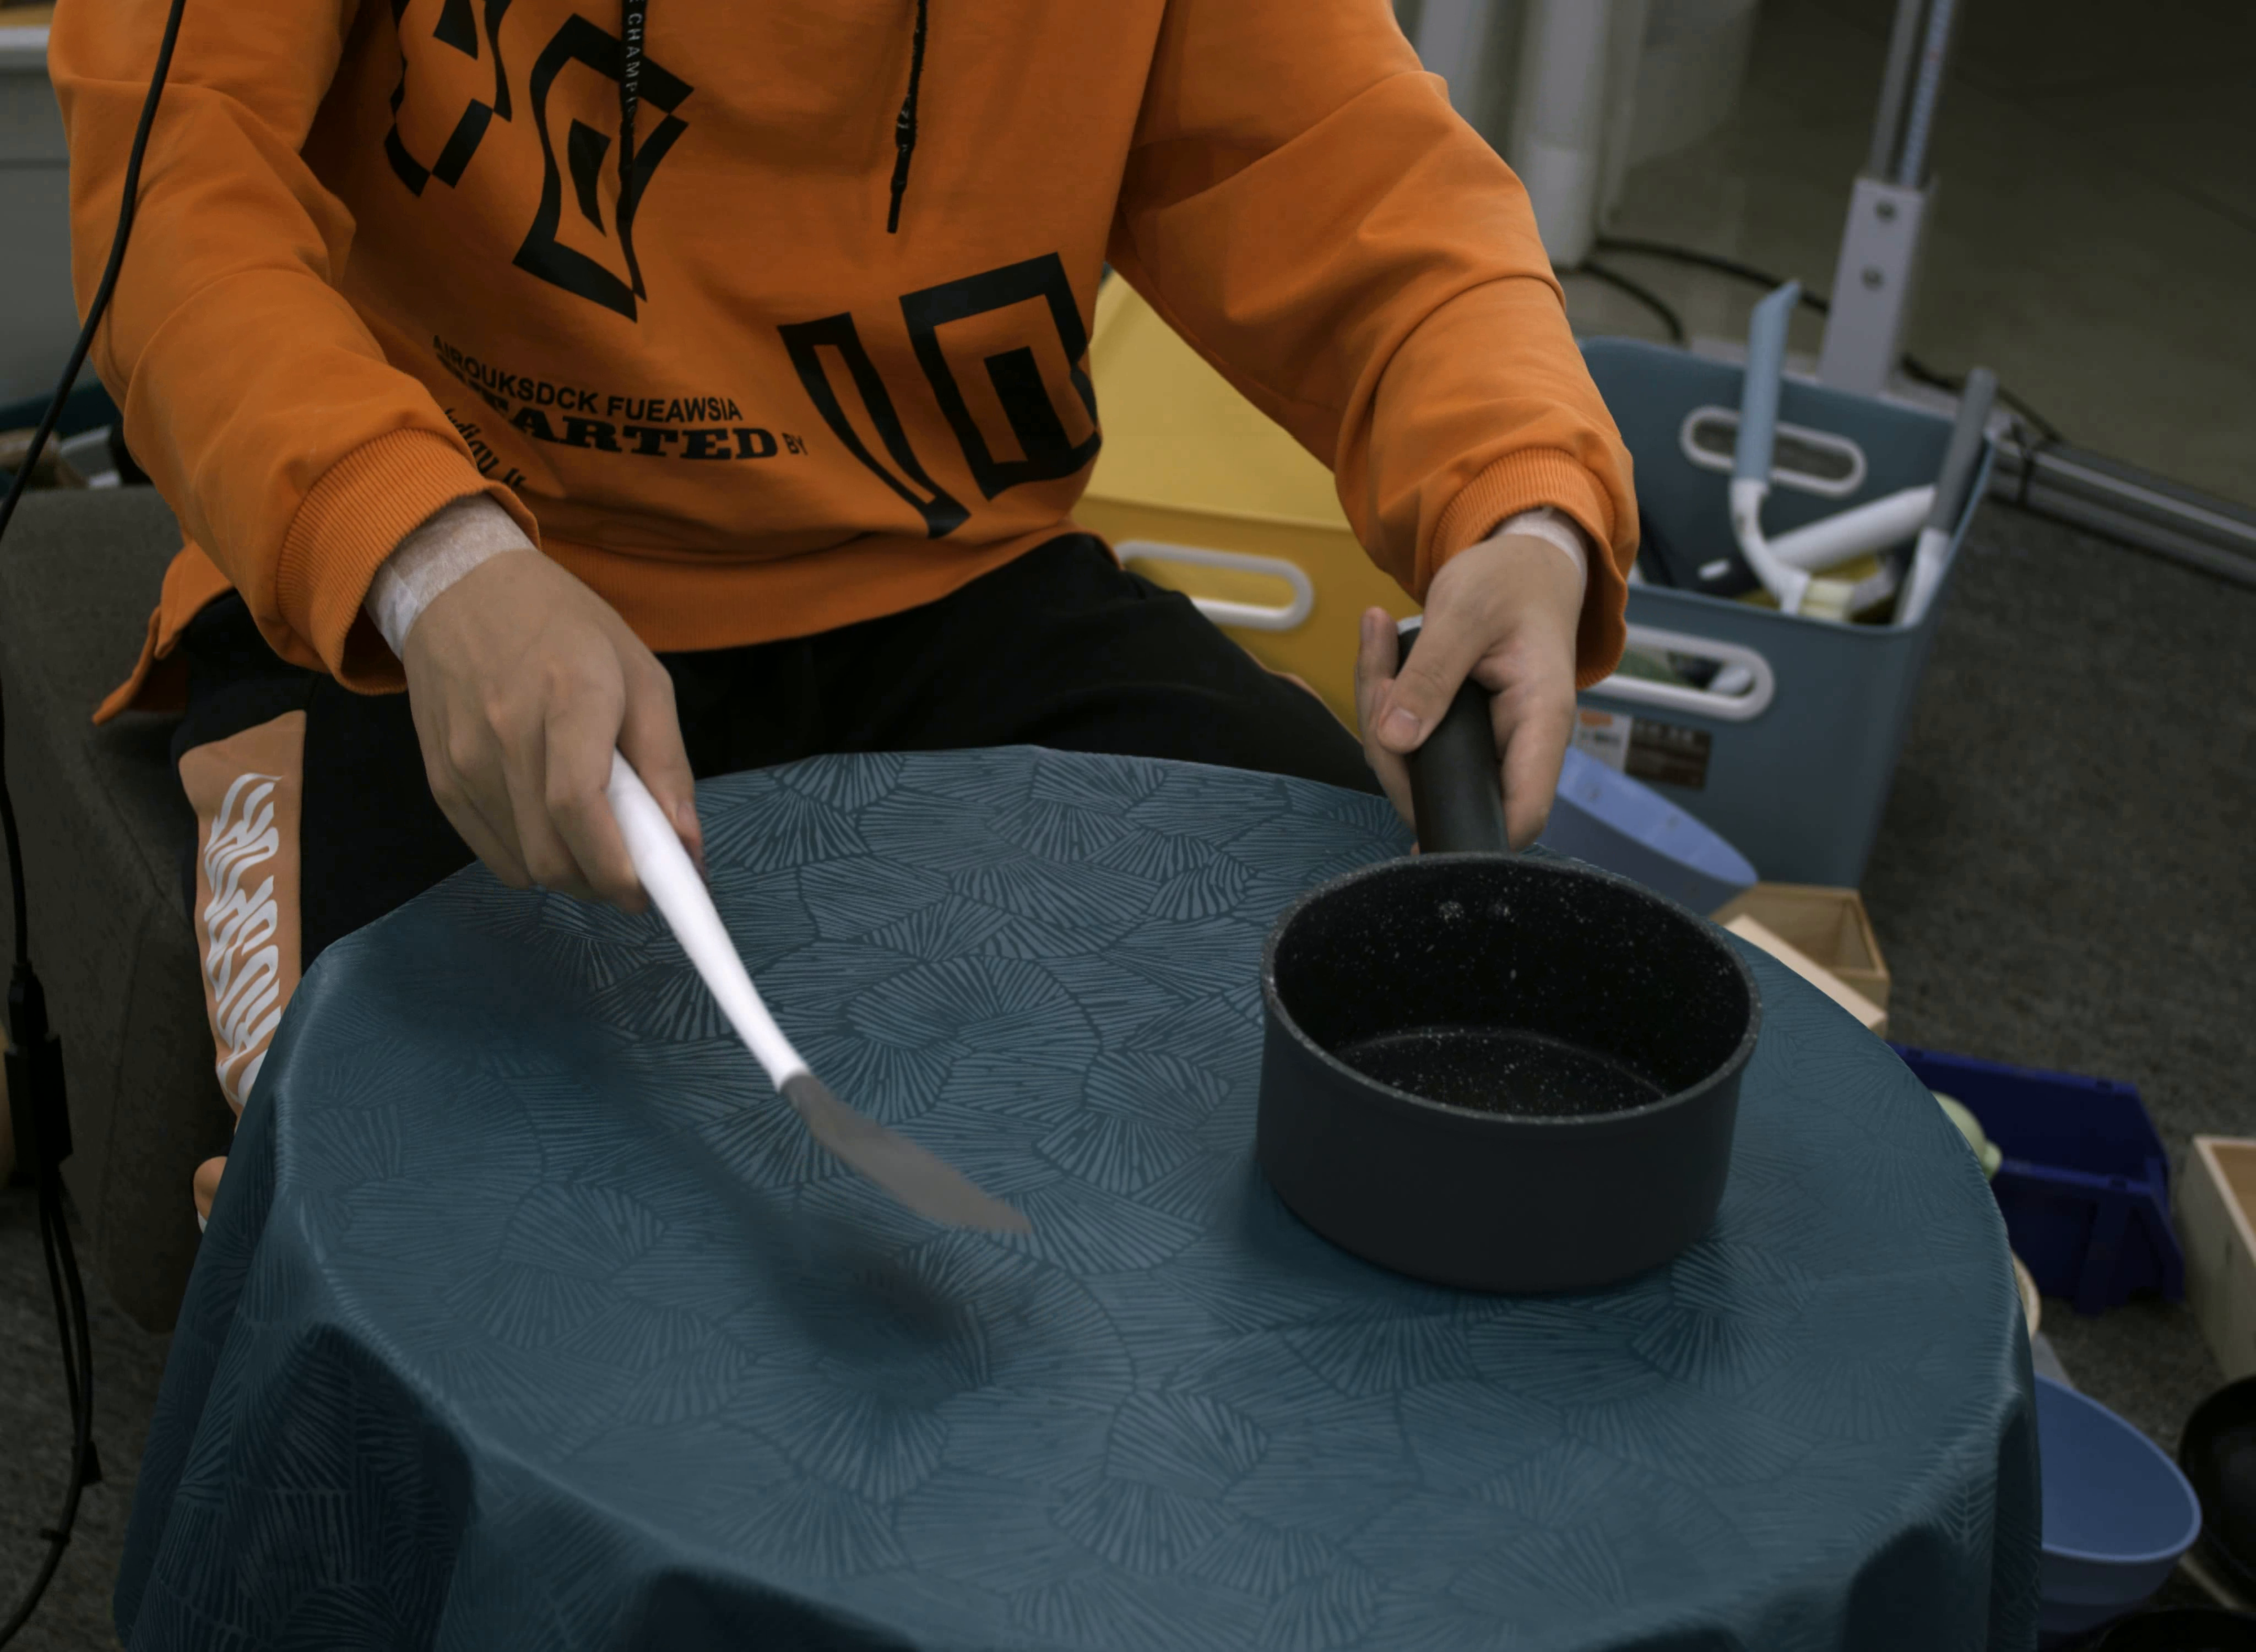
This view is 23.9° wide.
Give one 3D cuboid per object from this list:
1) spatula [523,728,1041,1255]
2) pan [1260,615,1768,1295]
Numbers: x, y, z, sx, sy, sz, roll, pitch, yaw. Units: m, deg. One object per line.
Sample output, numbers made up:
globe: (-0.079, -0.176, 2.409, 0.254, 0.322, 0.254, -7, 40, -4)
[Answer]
spatula: (-0.123, 0.060, 1.778, 0.058, 0.032, 0.290, 18, 22, -47)
pan: (0.126, 0.041, 1.881, 0.171, 0.086, 0.331, 3, 32, -3)
